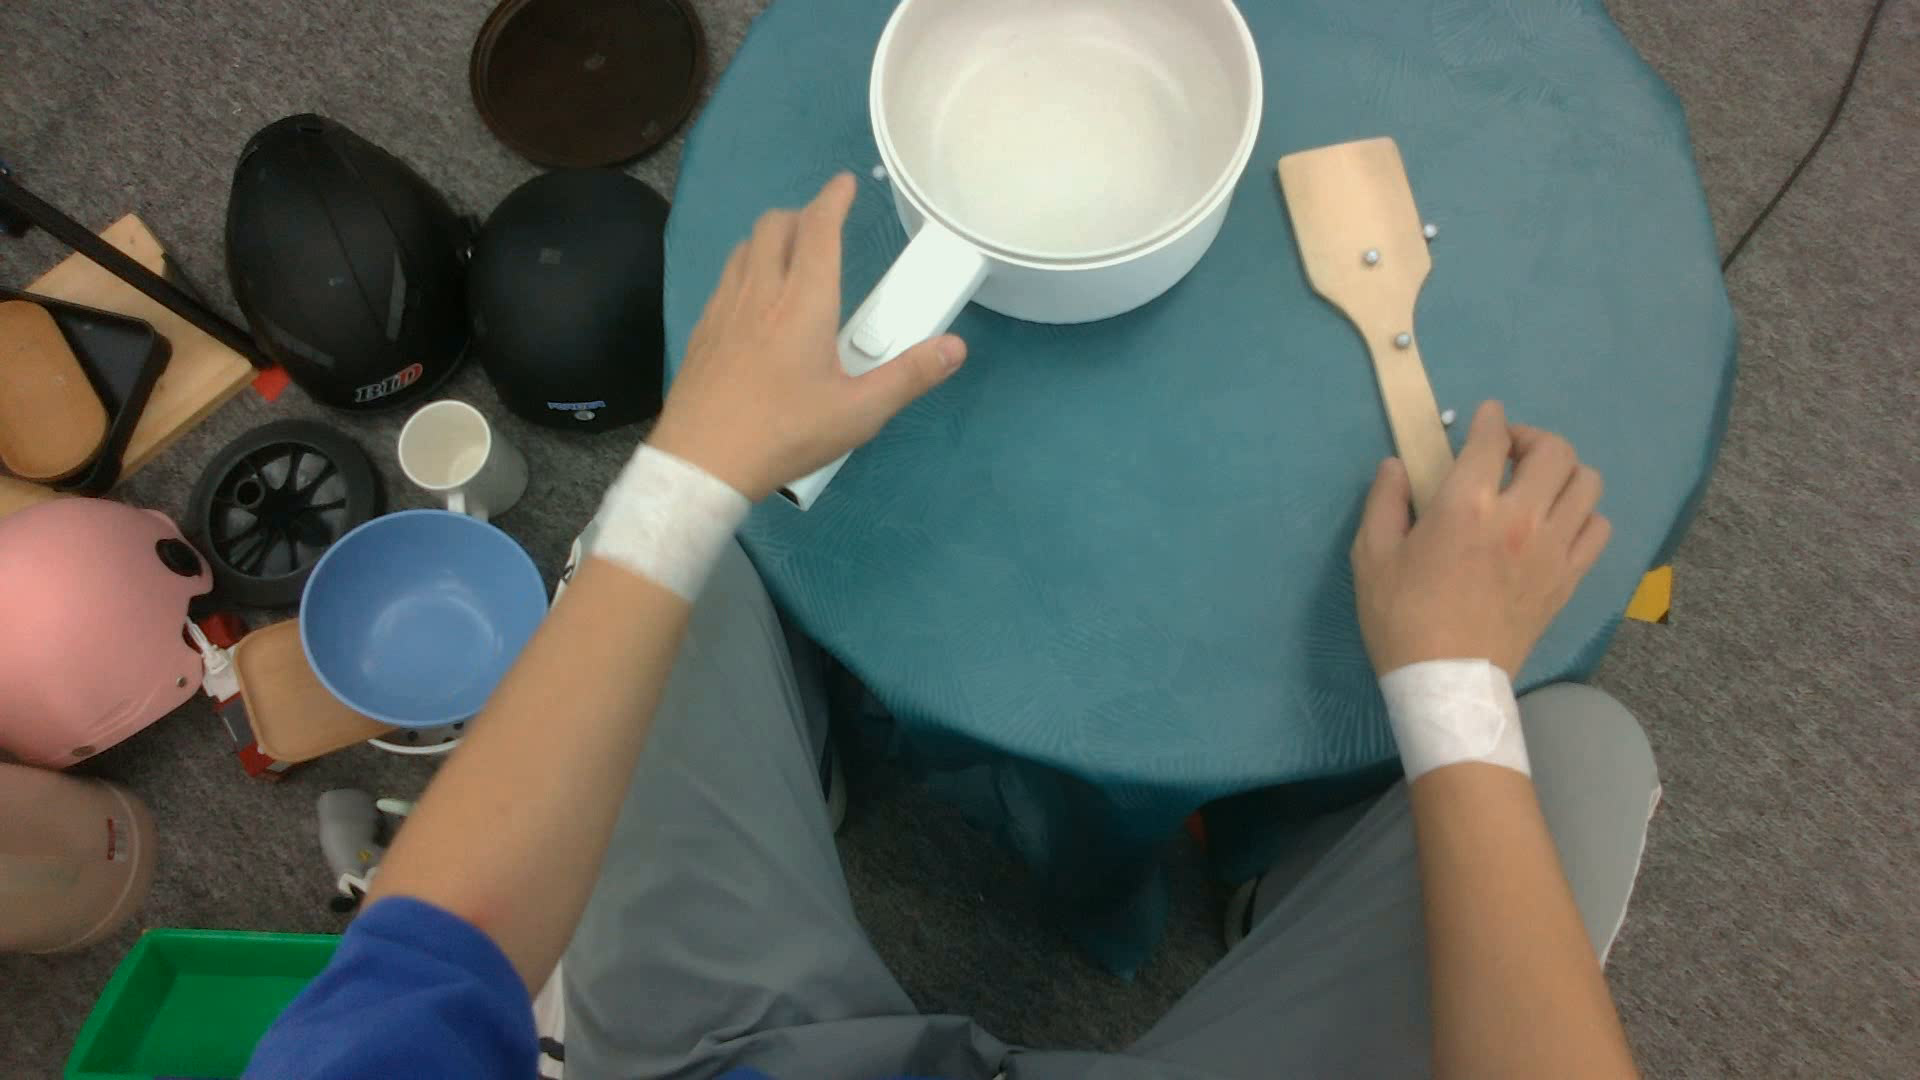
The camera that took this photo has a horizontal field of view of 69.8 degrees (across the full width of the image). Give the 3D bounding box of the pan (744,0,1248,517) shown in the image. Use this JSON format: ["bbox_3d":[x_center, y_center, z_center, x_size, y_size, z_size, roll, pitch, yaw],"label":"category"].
[{"bbox_3d":[0.010,-0.155,0.754,0.201,0.102,0.355,33,78,10],"label":"pan"}]

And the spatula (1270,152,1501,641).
[{"bbox_3d":[0.244,-0.085,0.764,0.072,0.010,0.293,-12,73,-2],"label":"spatula"}]
